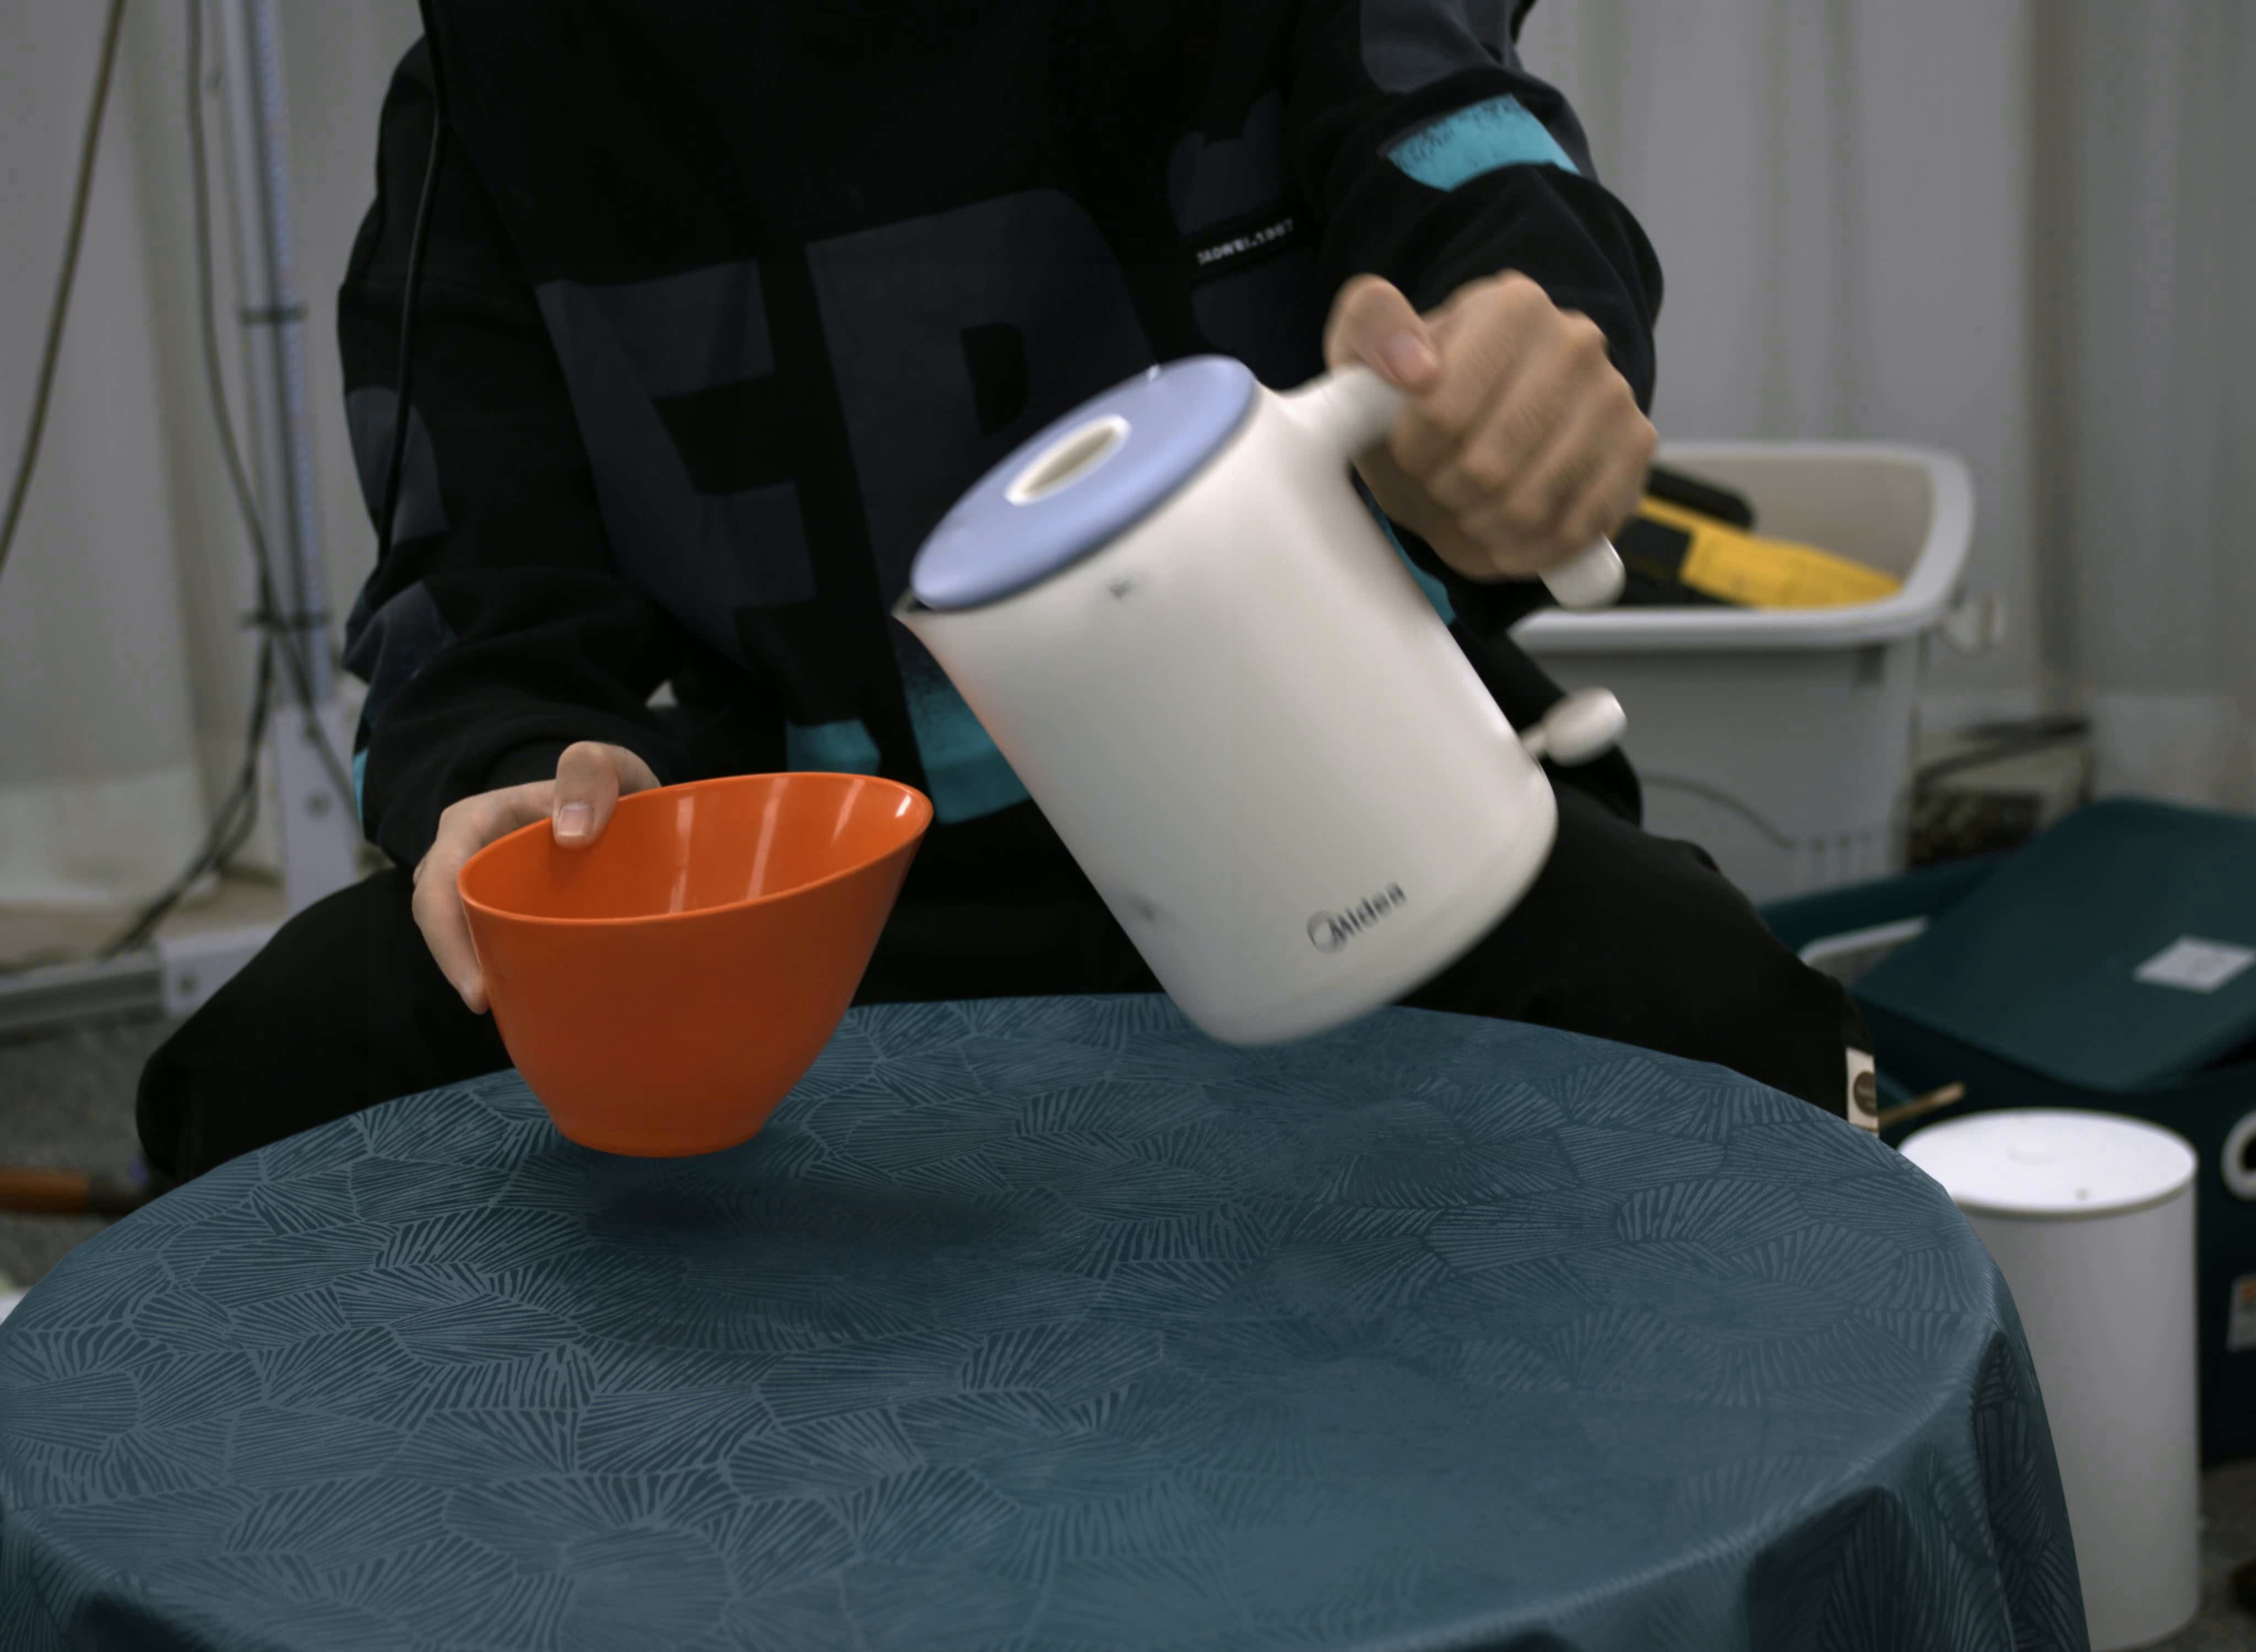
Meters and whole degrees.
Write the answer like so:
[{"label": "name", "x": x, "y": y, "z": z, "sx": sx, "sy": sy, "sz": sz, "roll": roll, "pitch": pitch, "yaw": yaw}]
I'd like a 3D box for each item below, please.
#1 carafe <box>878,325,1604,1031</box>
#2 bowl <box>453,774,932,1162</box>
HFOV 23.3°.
[{"label": "carafe", "x": 0.047, "y": -0.055, "z": 1.625, "sx": 0.191, "sy": 0.181, "sz": 0.133, "roll": -32, "pitch": 18, "yaw": 4}, {"label": "bowl", "x": -0.136, "y": 0.045, "z": 1.696, "sx": 0.147, "sy": 0.104, "sz": 0.149, "roll": 2, "pitch": 18, "yaw": -1}]
